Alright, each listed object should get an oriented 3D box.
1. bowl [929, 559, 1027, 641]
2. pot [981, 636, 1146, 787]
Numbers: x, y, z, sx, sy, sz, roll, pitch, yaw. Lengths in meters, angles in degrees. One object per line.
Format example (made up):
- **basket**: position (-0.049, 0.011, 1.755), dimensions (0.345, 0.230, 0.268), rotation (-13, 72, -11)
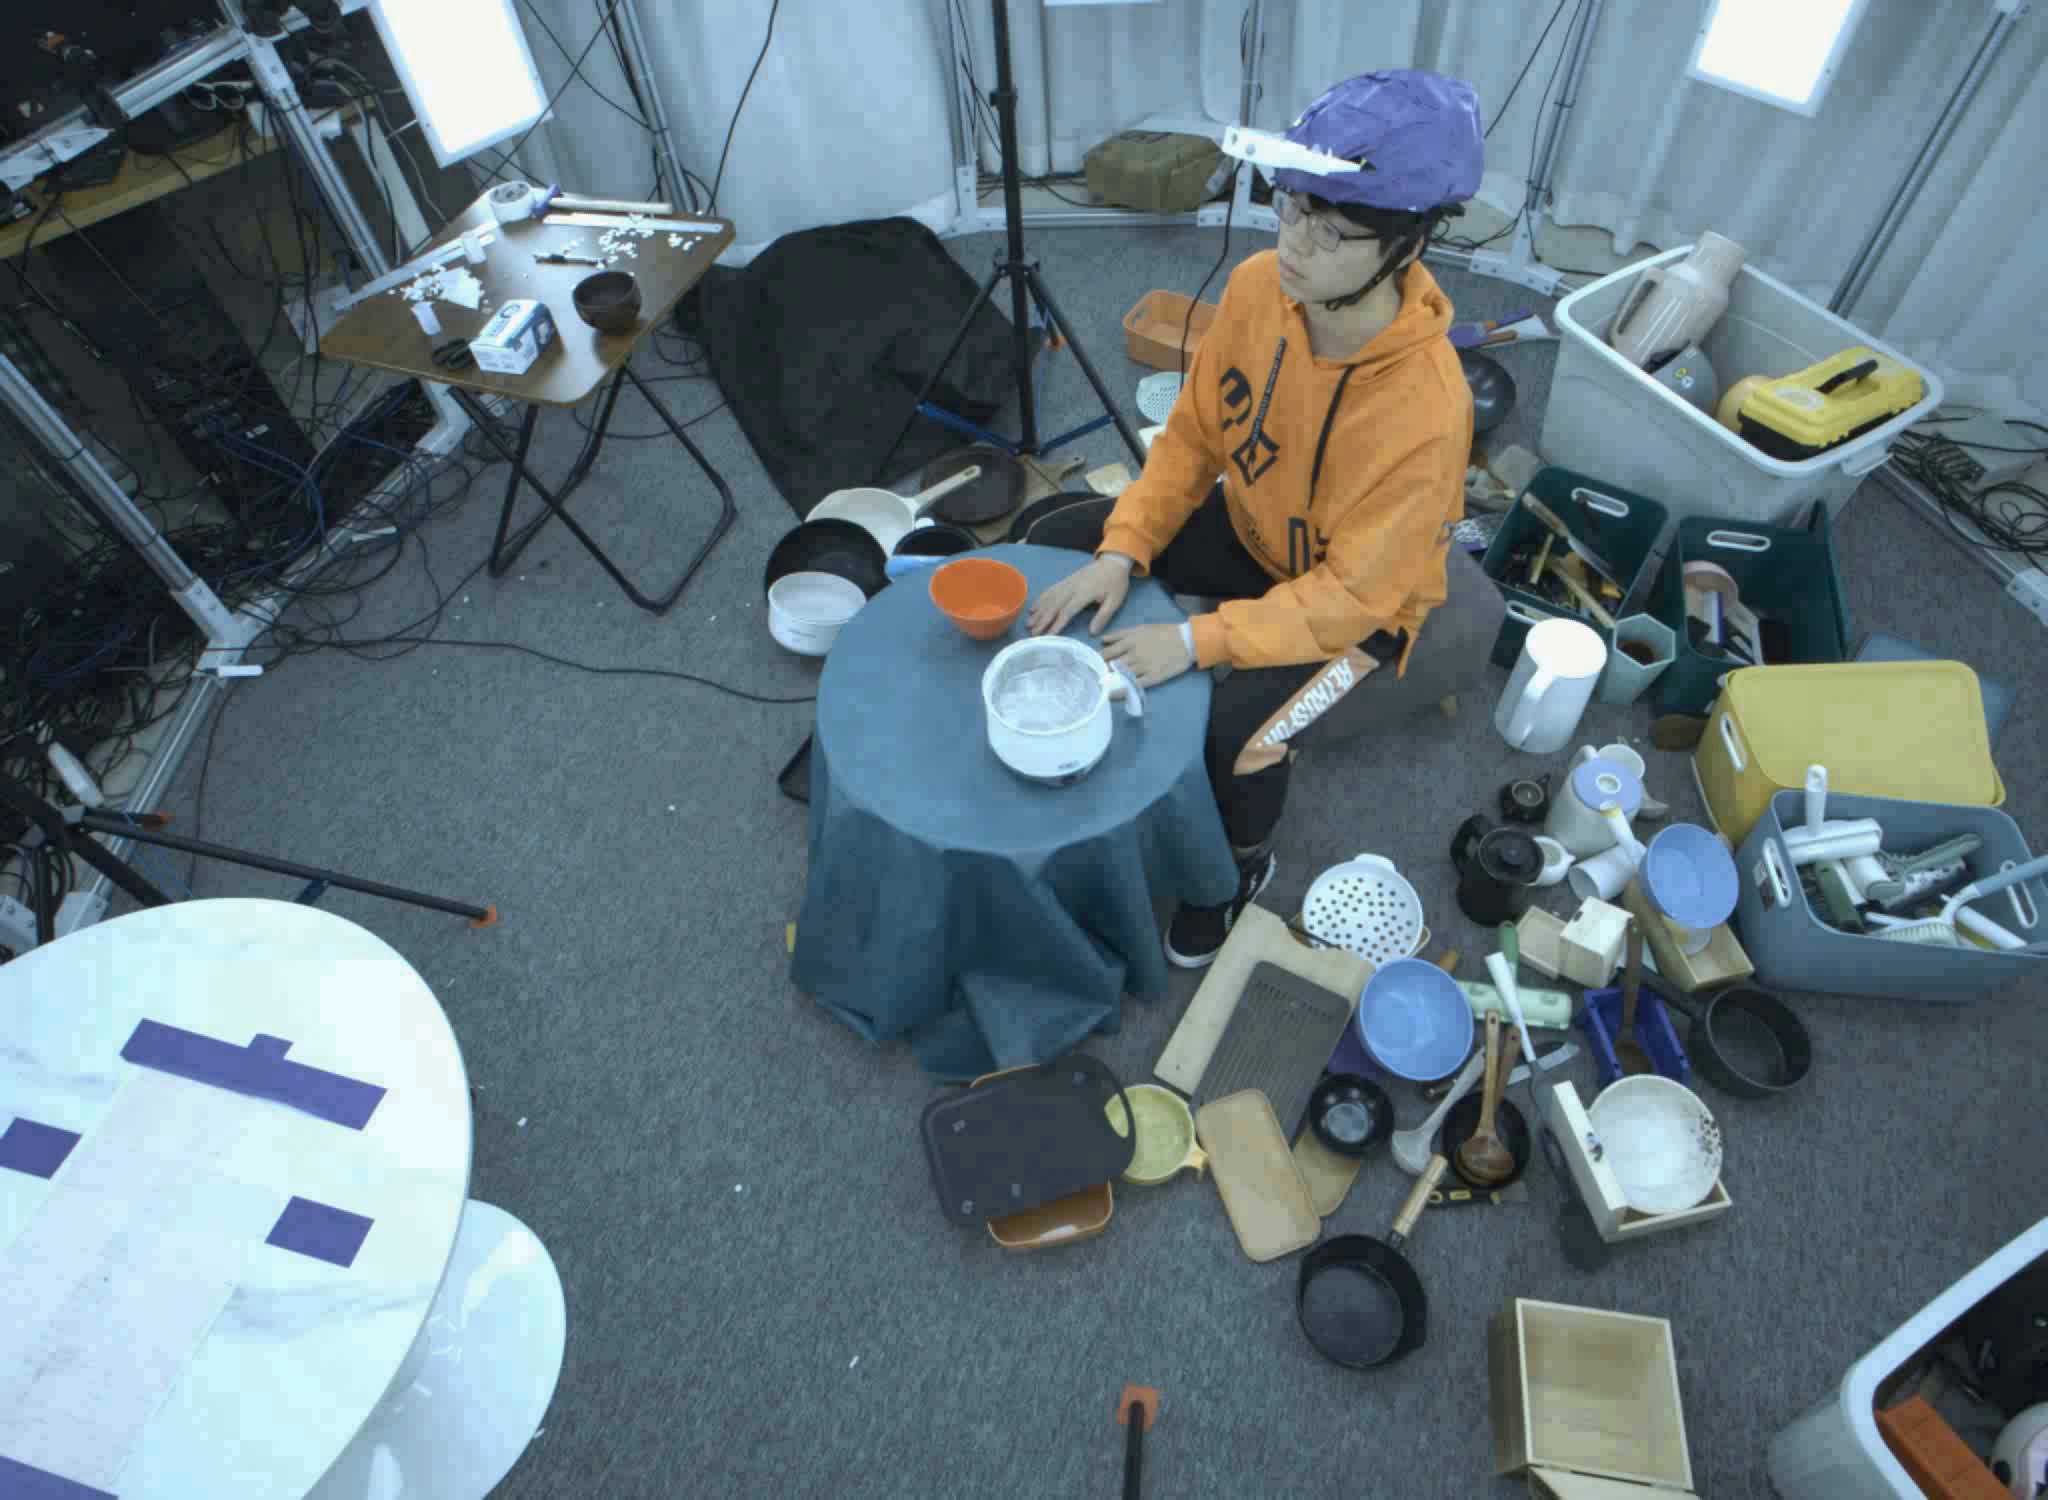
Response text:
- **bowl**: position (-0.068, -0.219, 1.886), dimensions (0.148, 0.106, 0.146), rotation (0, 54, 1)
- **pot**: position (0.060, -0.062, 1.744), dimensions (0.235, 0.138, 0.175), rotation (-17, 56, -9)
